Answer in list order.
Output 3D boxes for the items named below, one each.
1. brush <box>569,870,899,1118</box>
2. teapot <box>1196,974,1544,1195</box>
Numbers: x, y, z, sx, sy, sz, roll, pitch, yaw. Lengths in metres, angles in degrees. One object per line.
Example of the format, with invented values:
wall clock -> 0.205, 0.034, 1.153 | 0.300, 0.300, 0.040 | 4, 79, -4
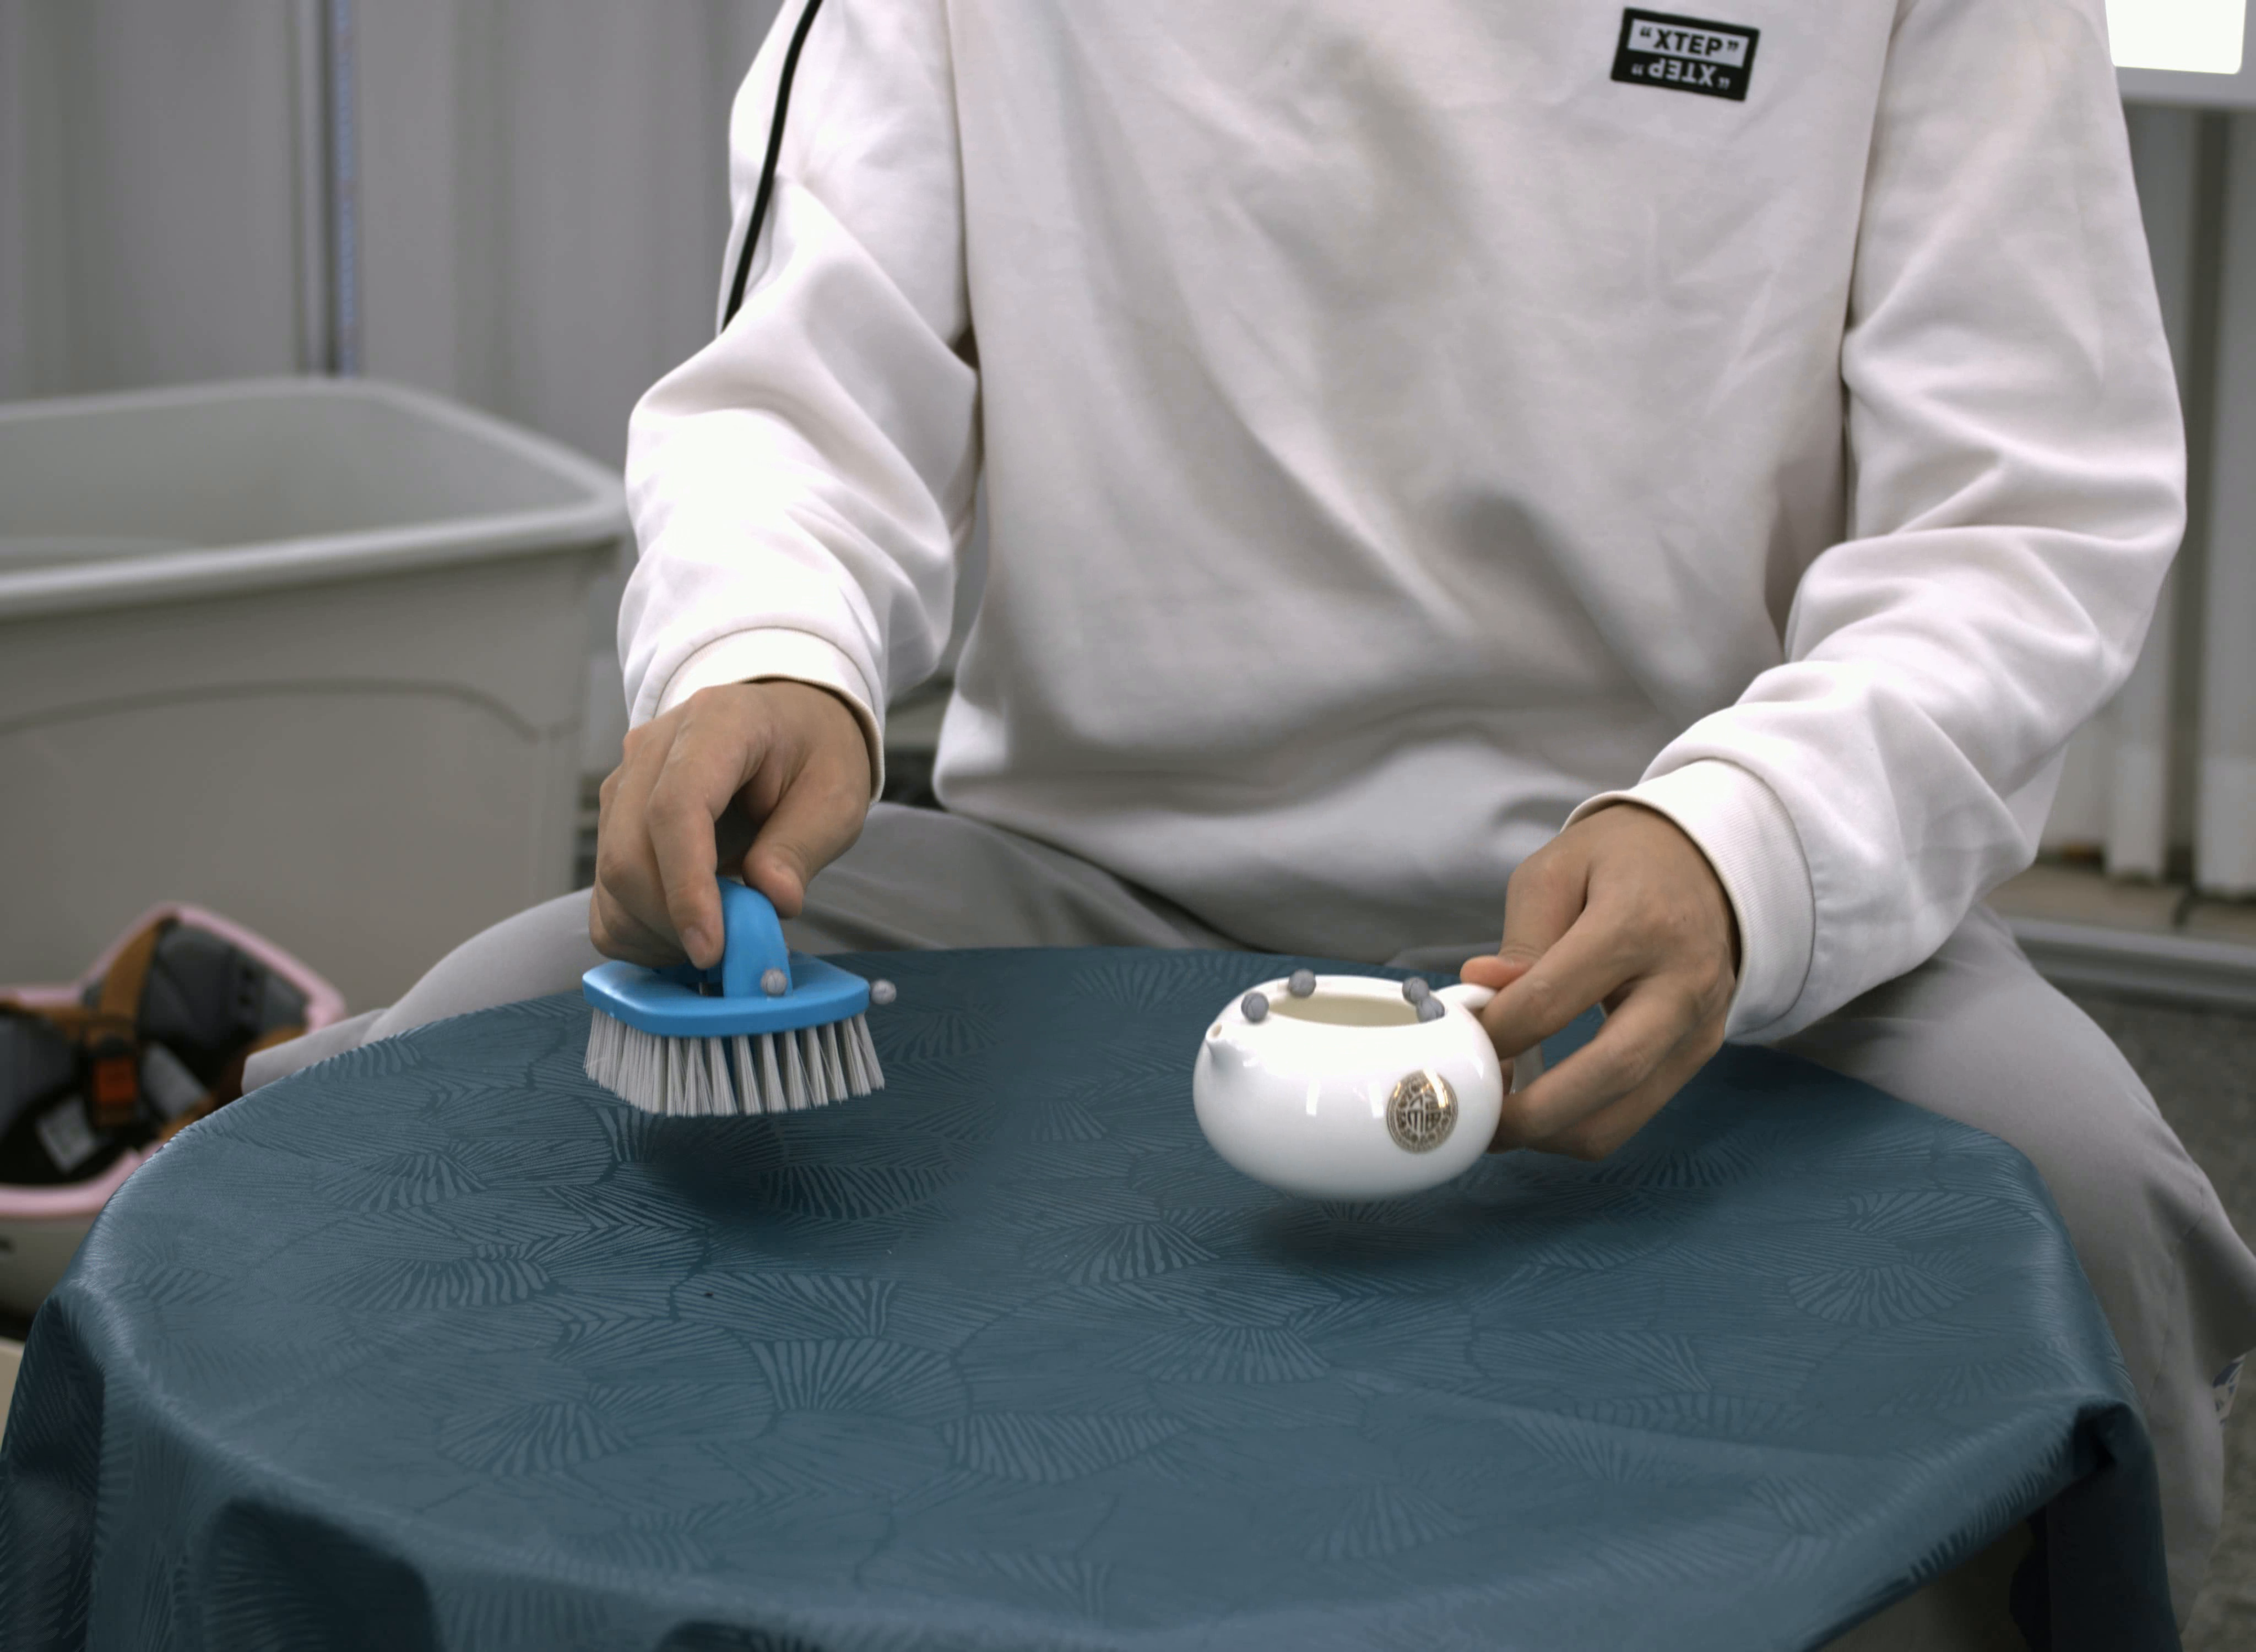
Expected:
brush -> -0.127, 0.047, 1.632 | 0.084, 0.064, 0.140 | -13, 8, -19
teapot -> 0.075, 0.077, 1.593 | 0.128, 0.057, 0.092 | -7, 12, -39
